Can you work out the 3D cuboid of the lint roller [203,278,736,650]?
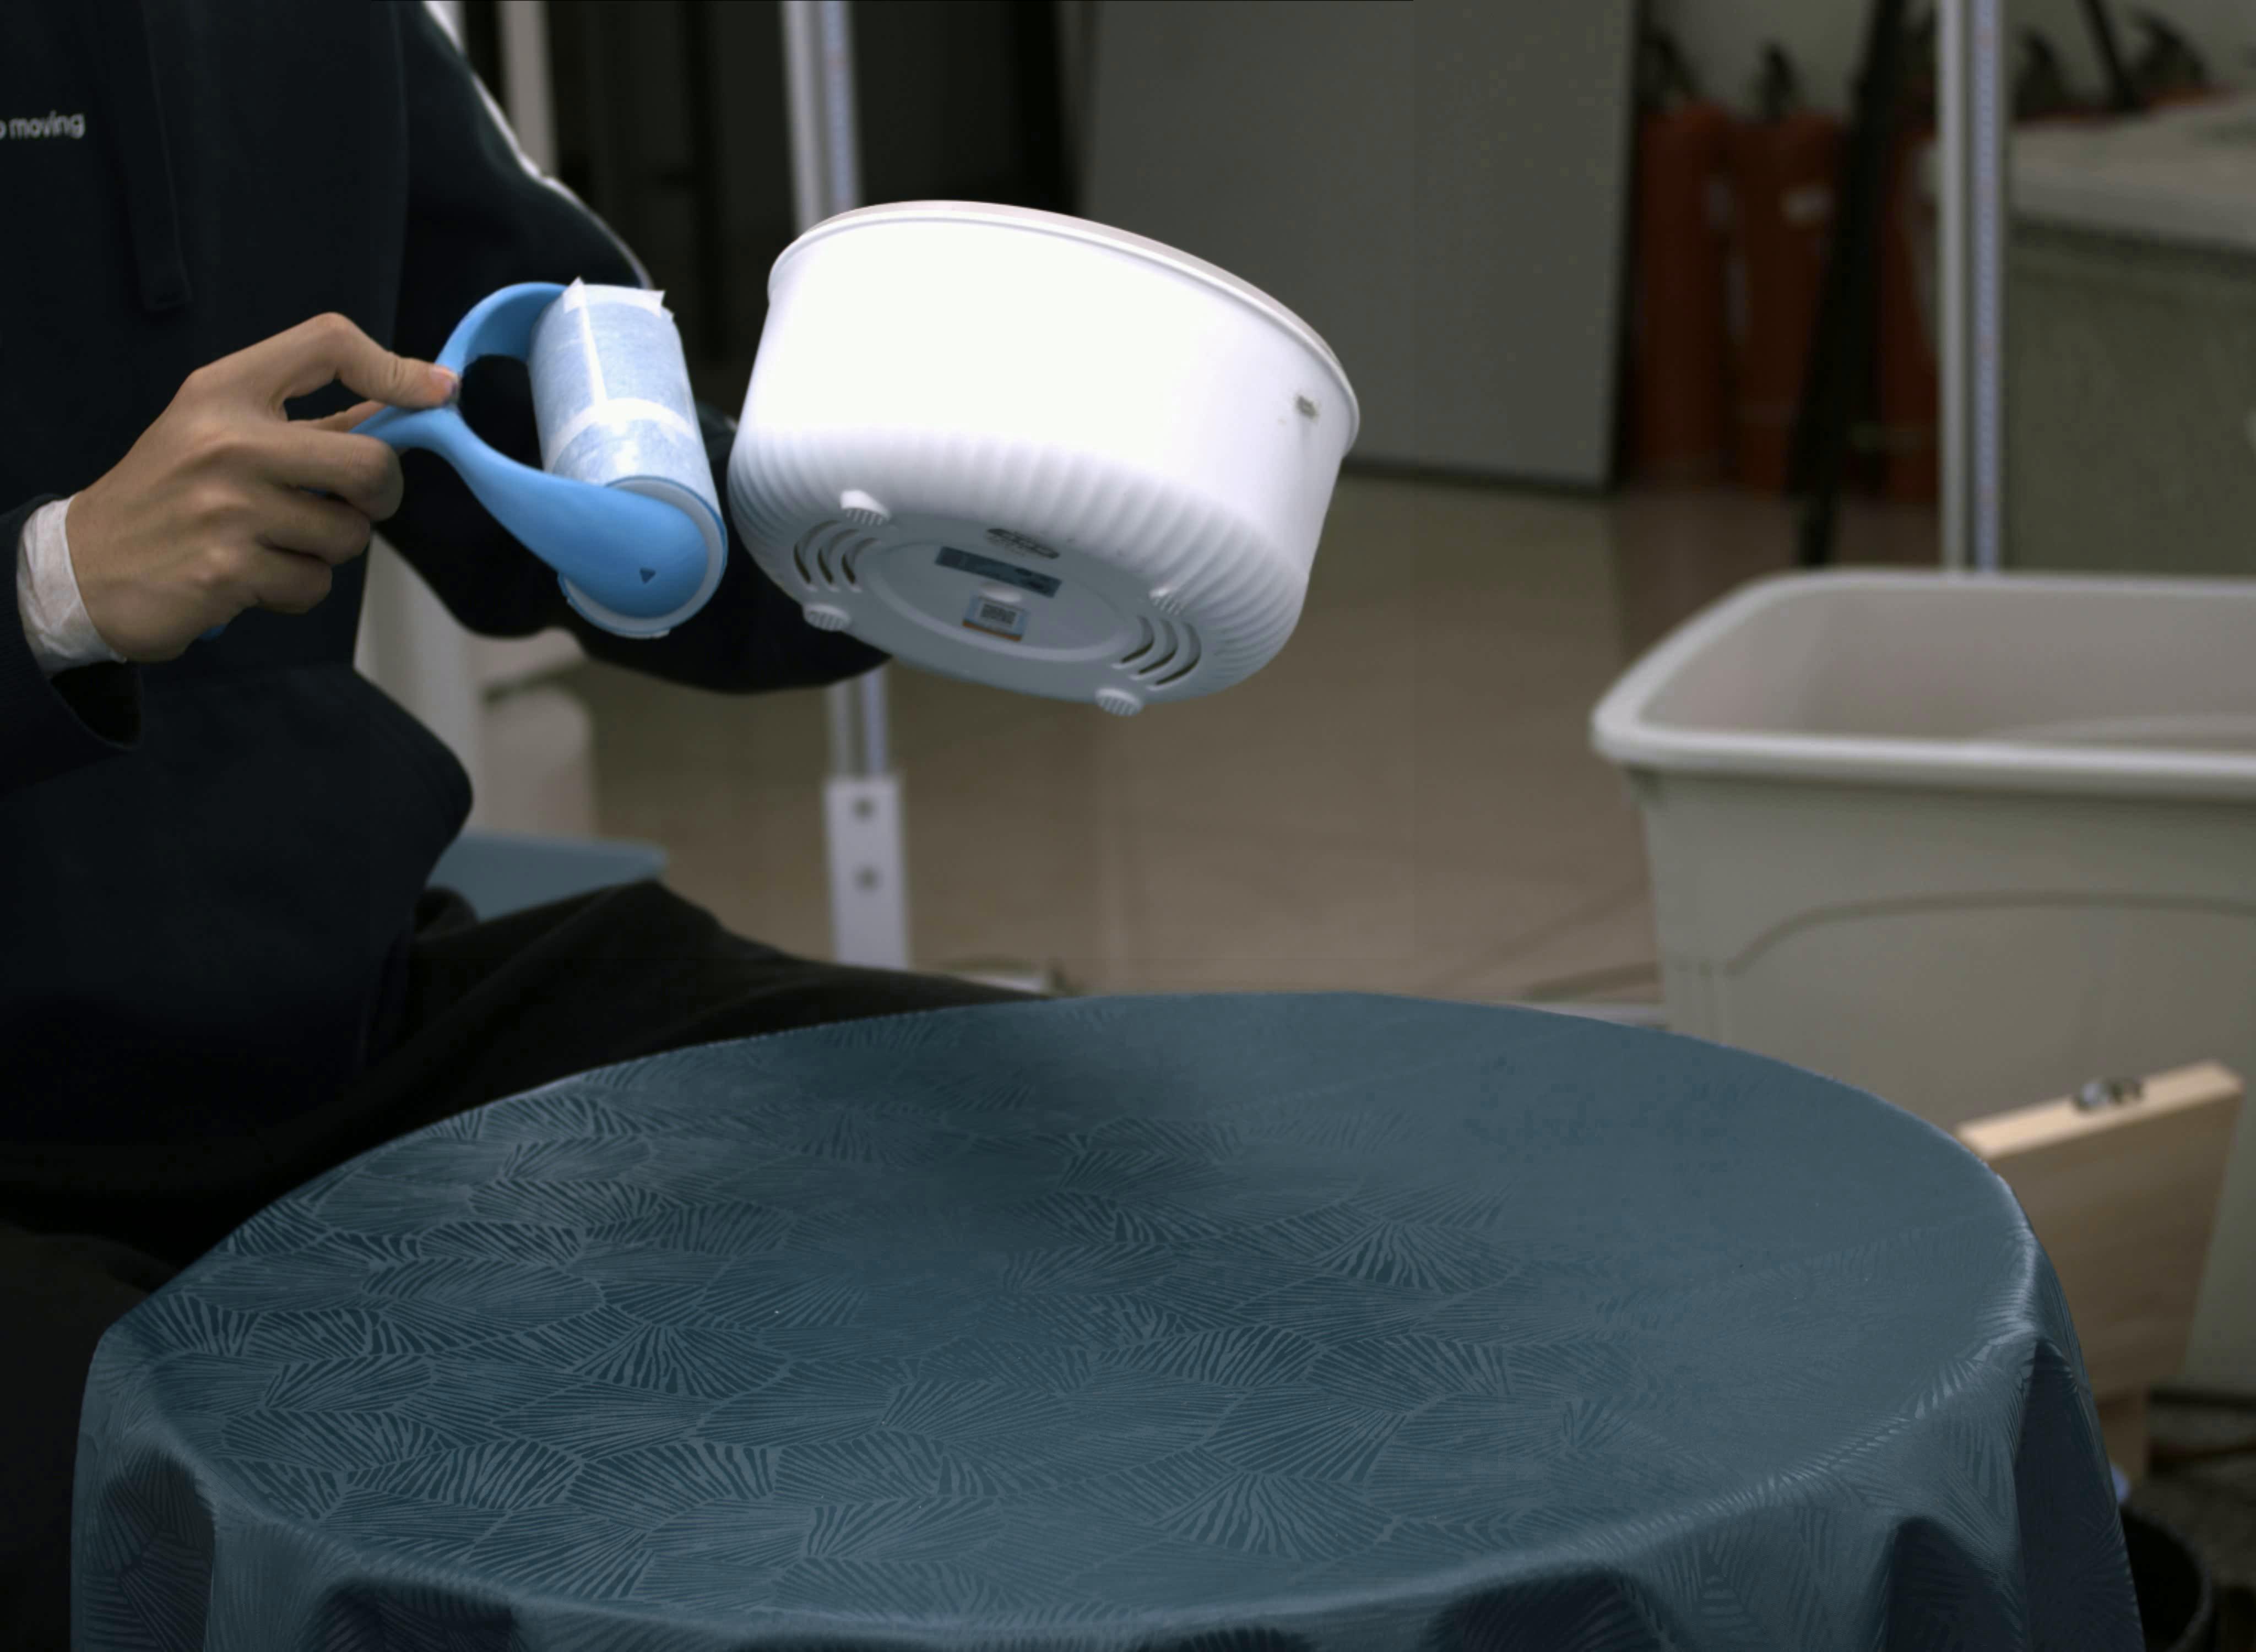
[{"bbox_3d":[-0.219,-0.109,1.753,0.178,0.068,0.231,-16,26,-5],"label":"lint roller"}]

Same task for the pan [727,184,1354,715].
[{"bbox_3d":[-0.044,-0.091,1.836,0.198,0.103,0.356,15,-21,-4],"label":"pan"}]
